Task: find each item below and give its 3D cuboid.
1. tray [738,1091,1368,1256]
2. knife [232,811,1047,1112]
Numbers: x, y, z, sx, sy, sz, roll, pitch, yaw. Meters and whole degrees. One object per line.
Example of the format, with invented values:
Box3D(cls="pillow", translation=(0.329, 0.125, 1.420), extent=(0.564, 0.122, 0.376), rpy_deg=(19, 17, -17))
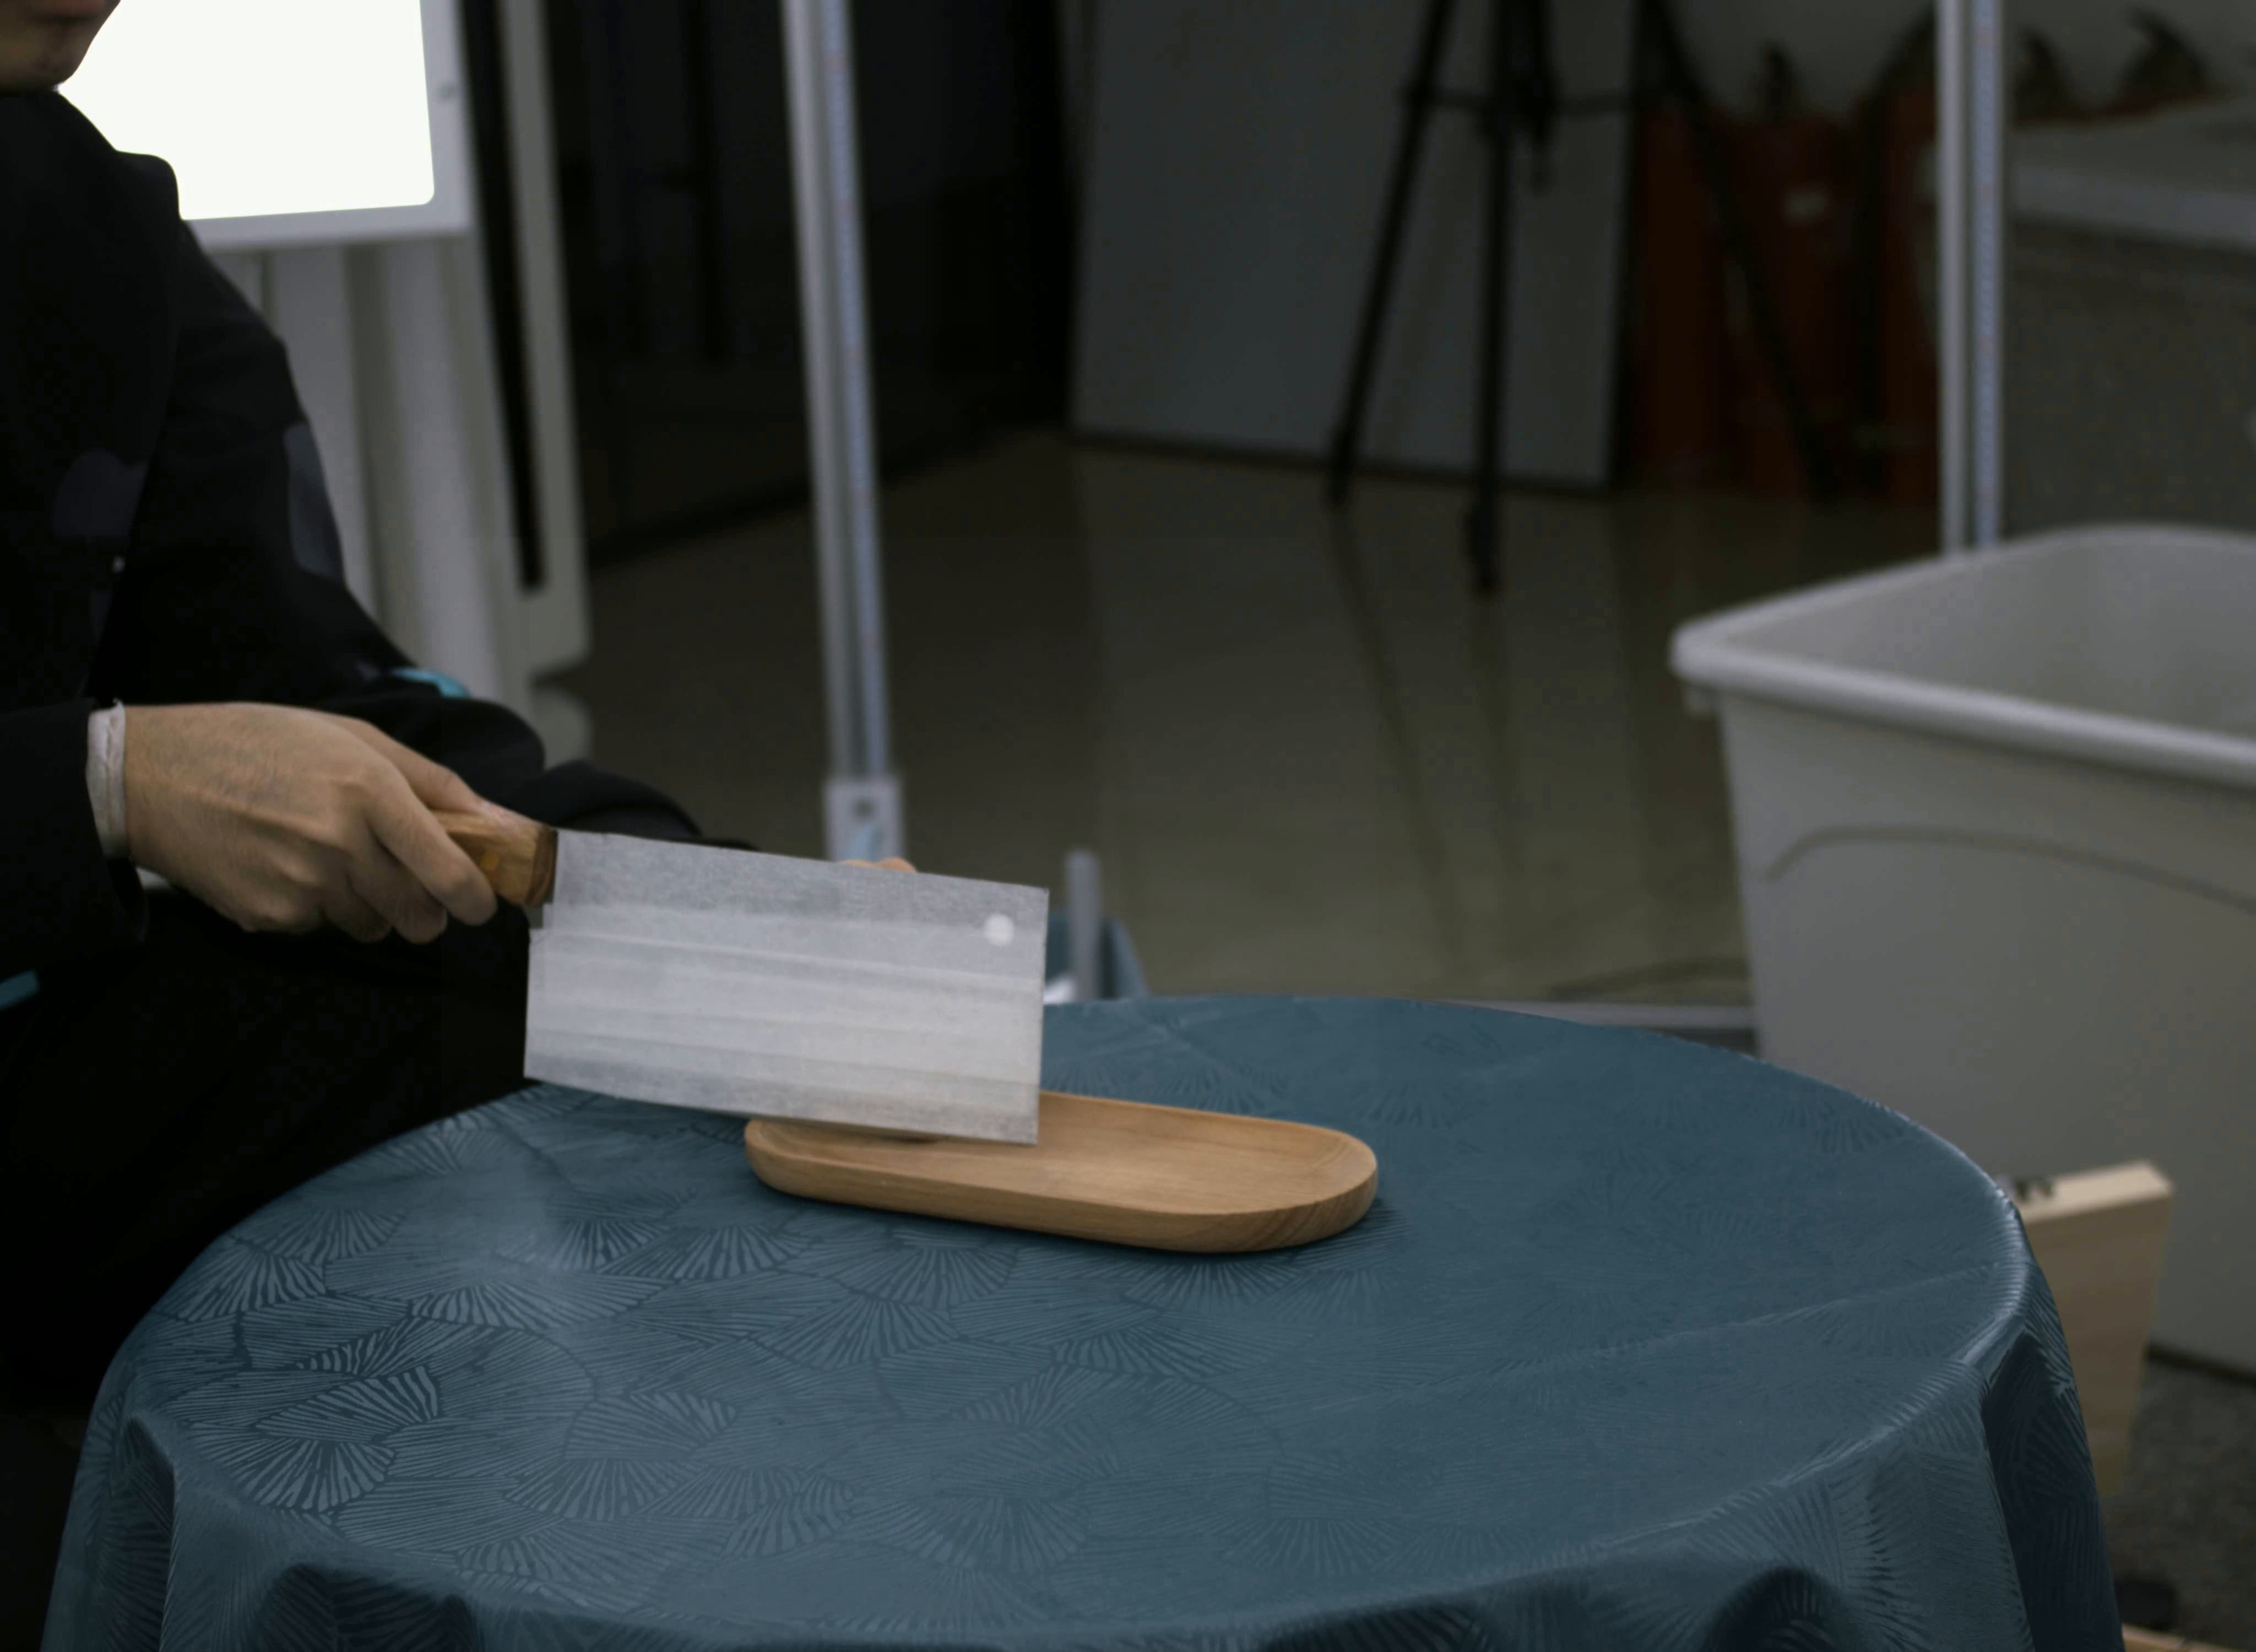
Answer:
Box3D(cls="tray", translation=(-0.026, 0.113, 1.778), extent=(0.232, 0.020, 0.100), rpy_deg=(4, 14, 34))
Box3D(cls="knife", translation=(-0.168, 0.048, 1.832), extent=(0.305, 0.094, 0.021), rpy_deg=(6, 11, 21))
